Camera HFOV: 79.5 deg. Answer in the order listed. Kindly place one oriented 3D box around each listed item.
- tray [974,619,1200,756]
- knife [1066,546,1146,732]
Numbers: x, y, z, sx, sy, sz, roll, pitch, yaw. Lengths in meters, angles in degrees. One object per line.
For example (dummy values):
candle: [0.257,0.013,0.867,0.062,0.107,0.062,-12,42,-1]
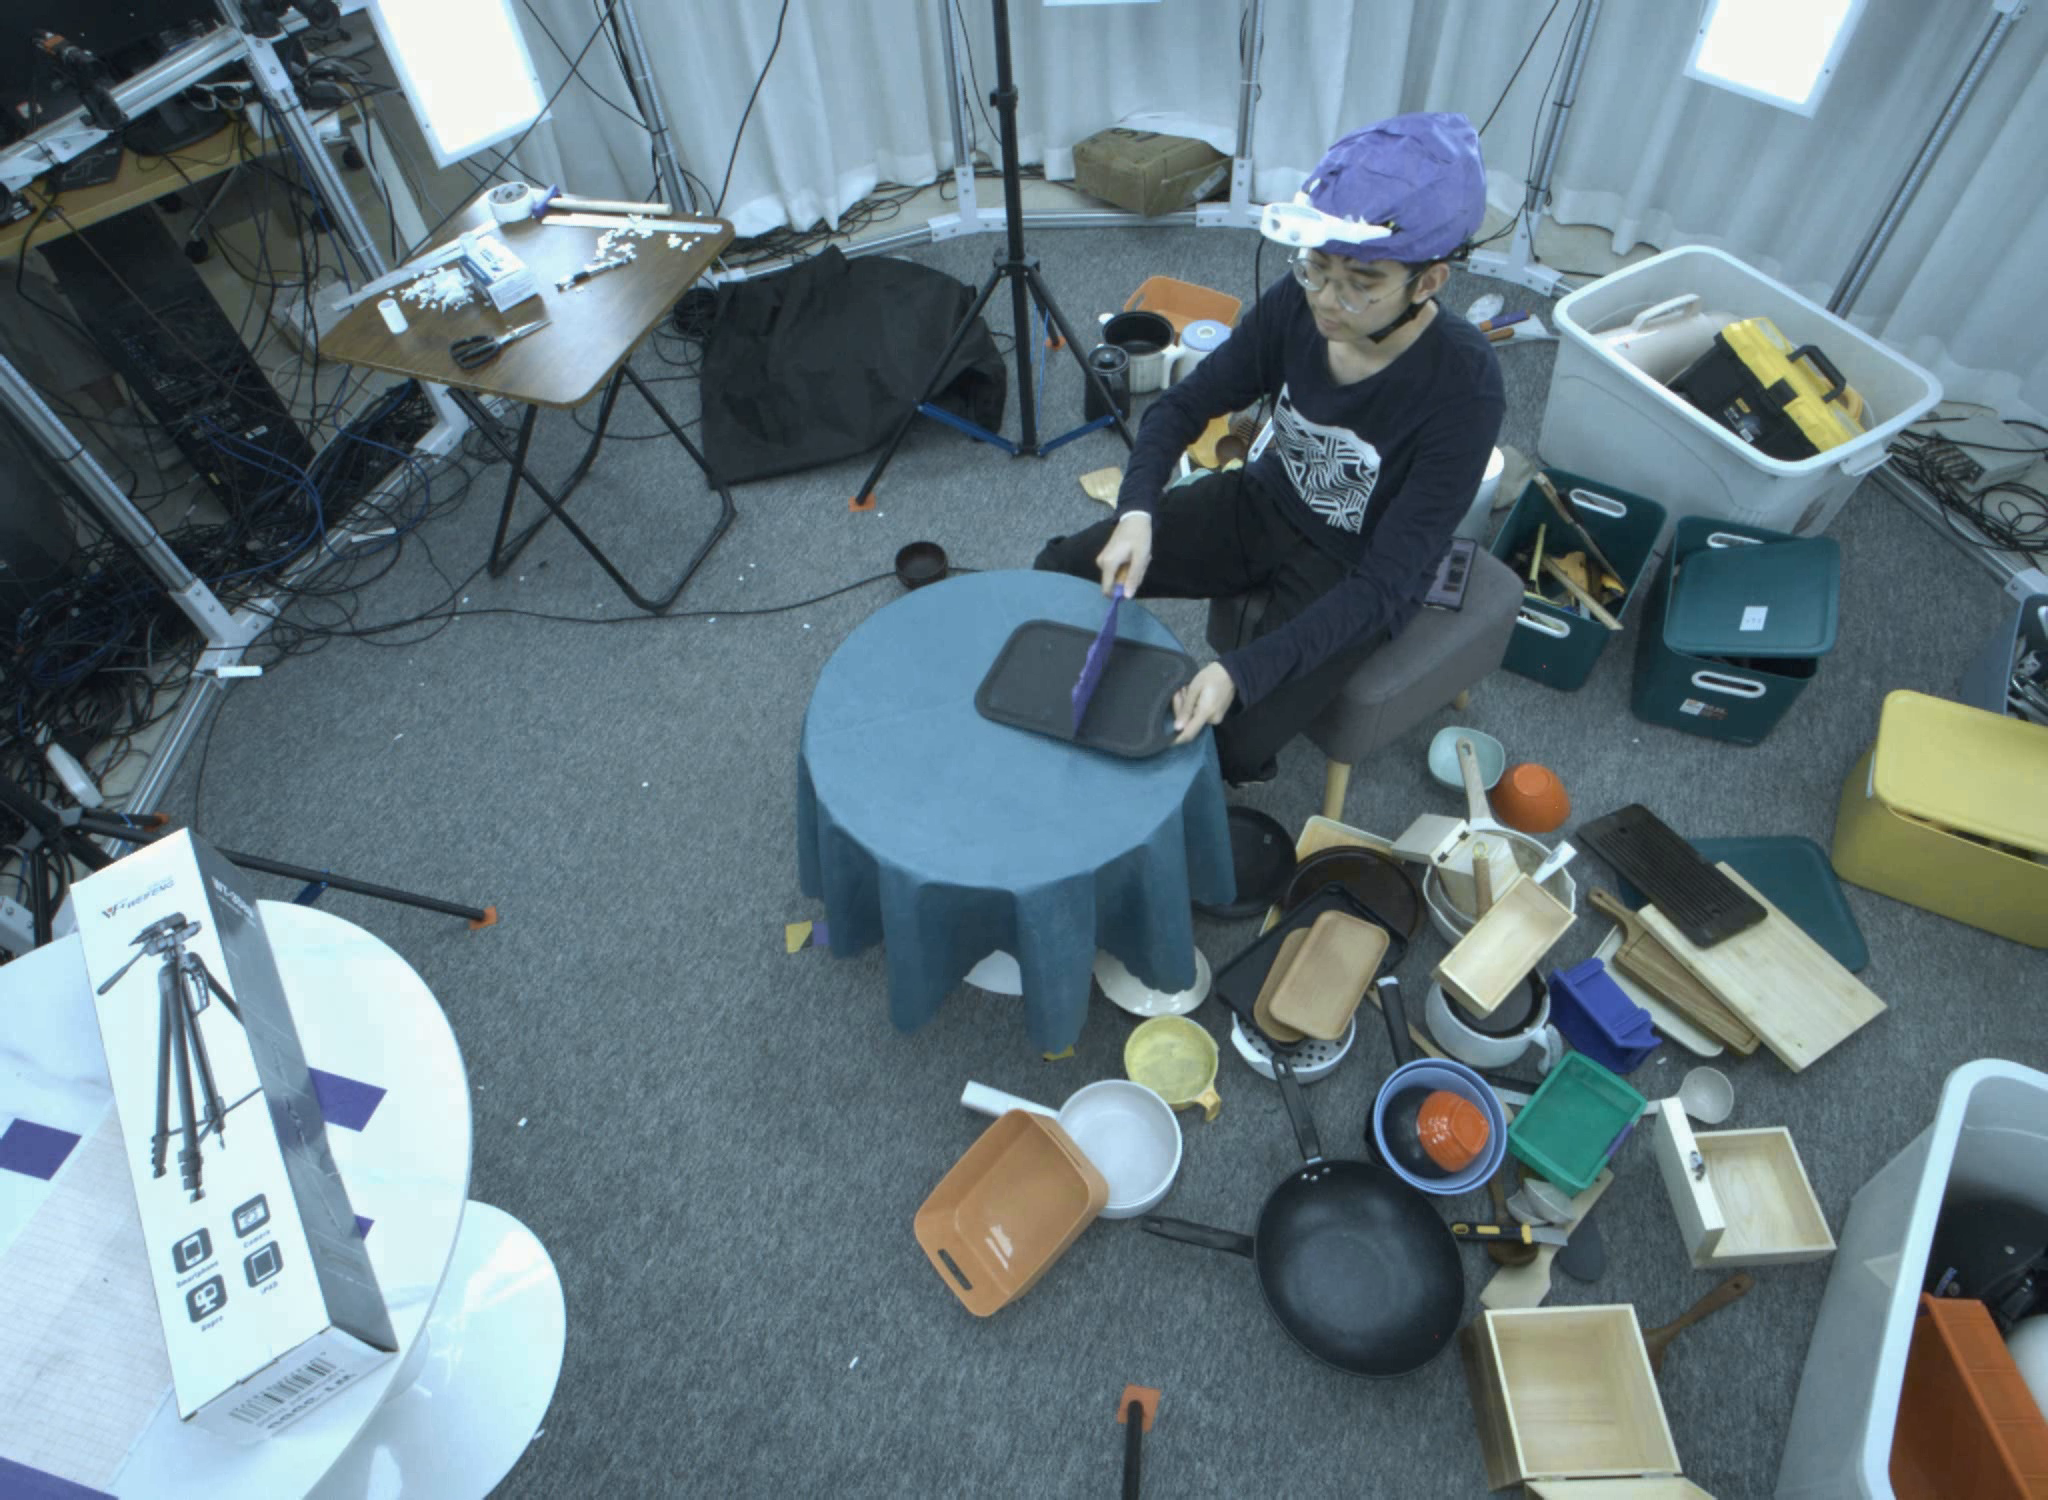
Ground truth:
tray: [0.099,-0.098,1.843,0.321,0.010,0.211,17,57,19]
knife: [0.118,-0.168,1.830,0.032,0.105,0.315,18,58,12]
